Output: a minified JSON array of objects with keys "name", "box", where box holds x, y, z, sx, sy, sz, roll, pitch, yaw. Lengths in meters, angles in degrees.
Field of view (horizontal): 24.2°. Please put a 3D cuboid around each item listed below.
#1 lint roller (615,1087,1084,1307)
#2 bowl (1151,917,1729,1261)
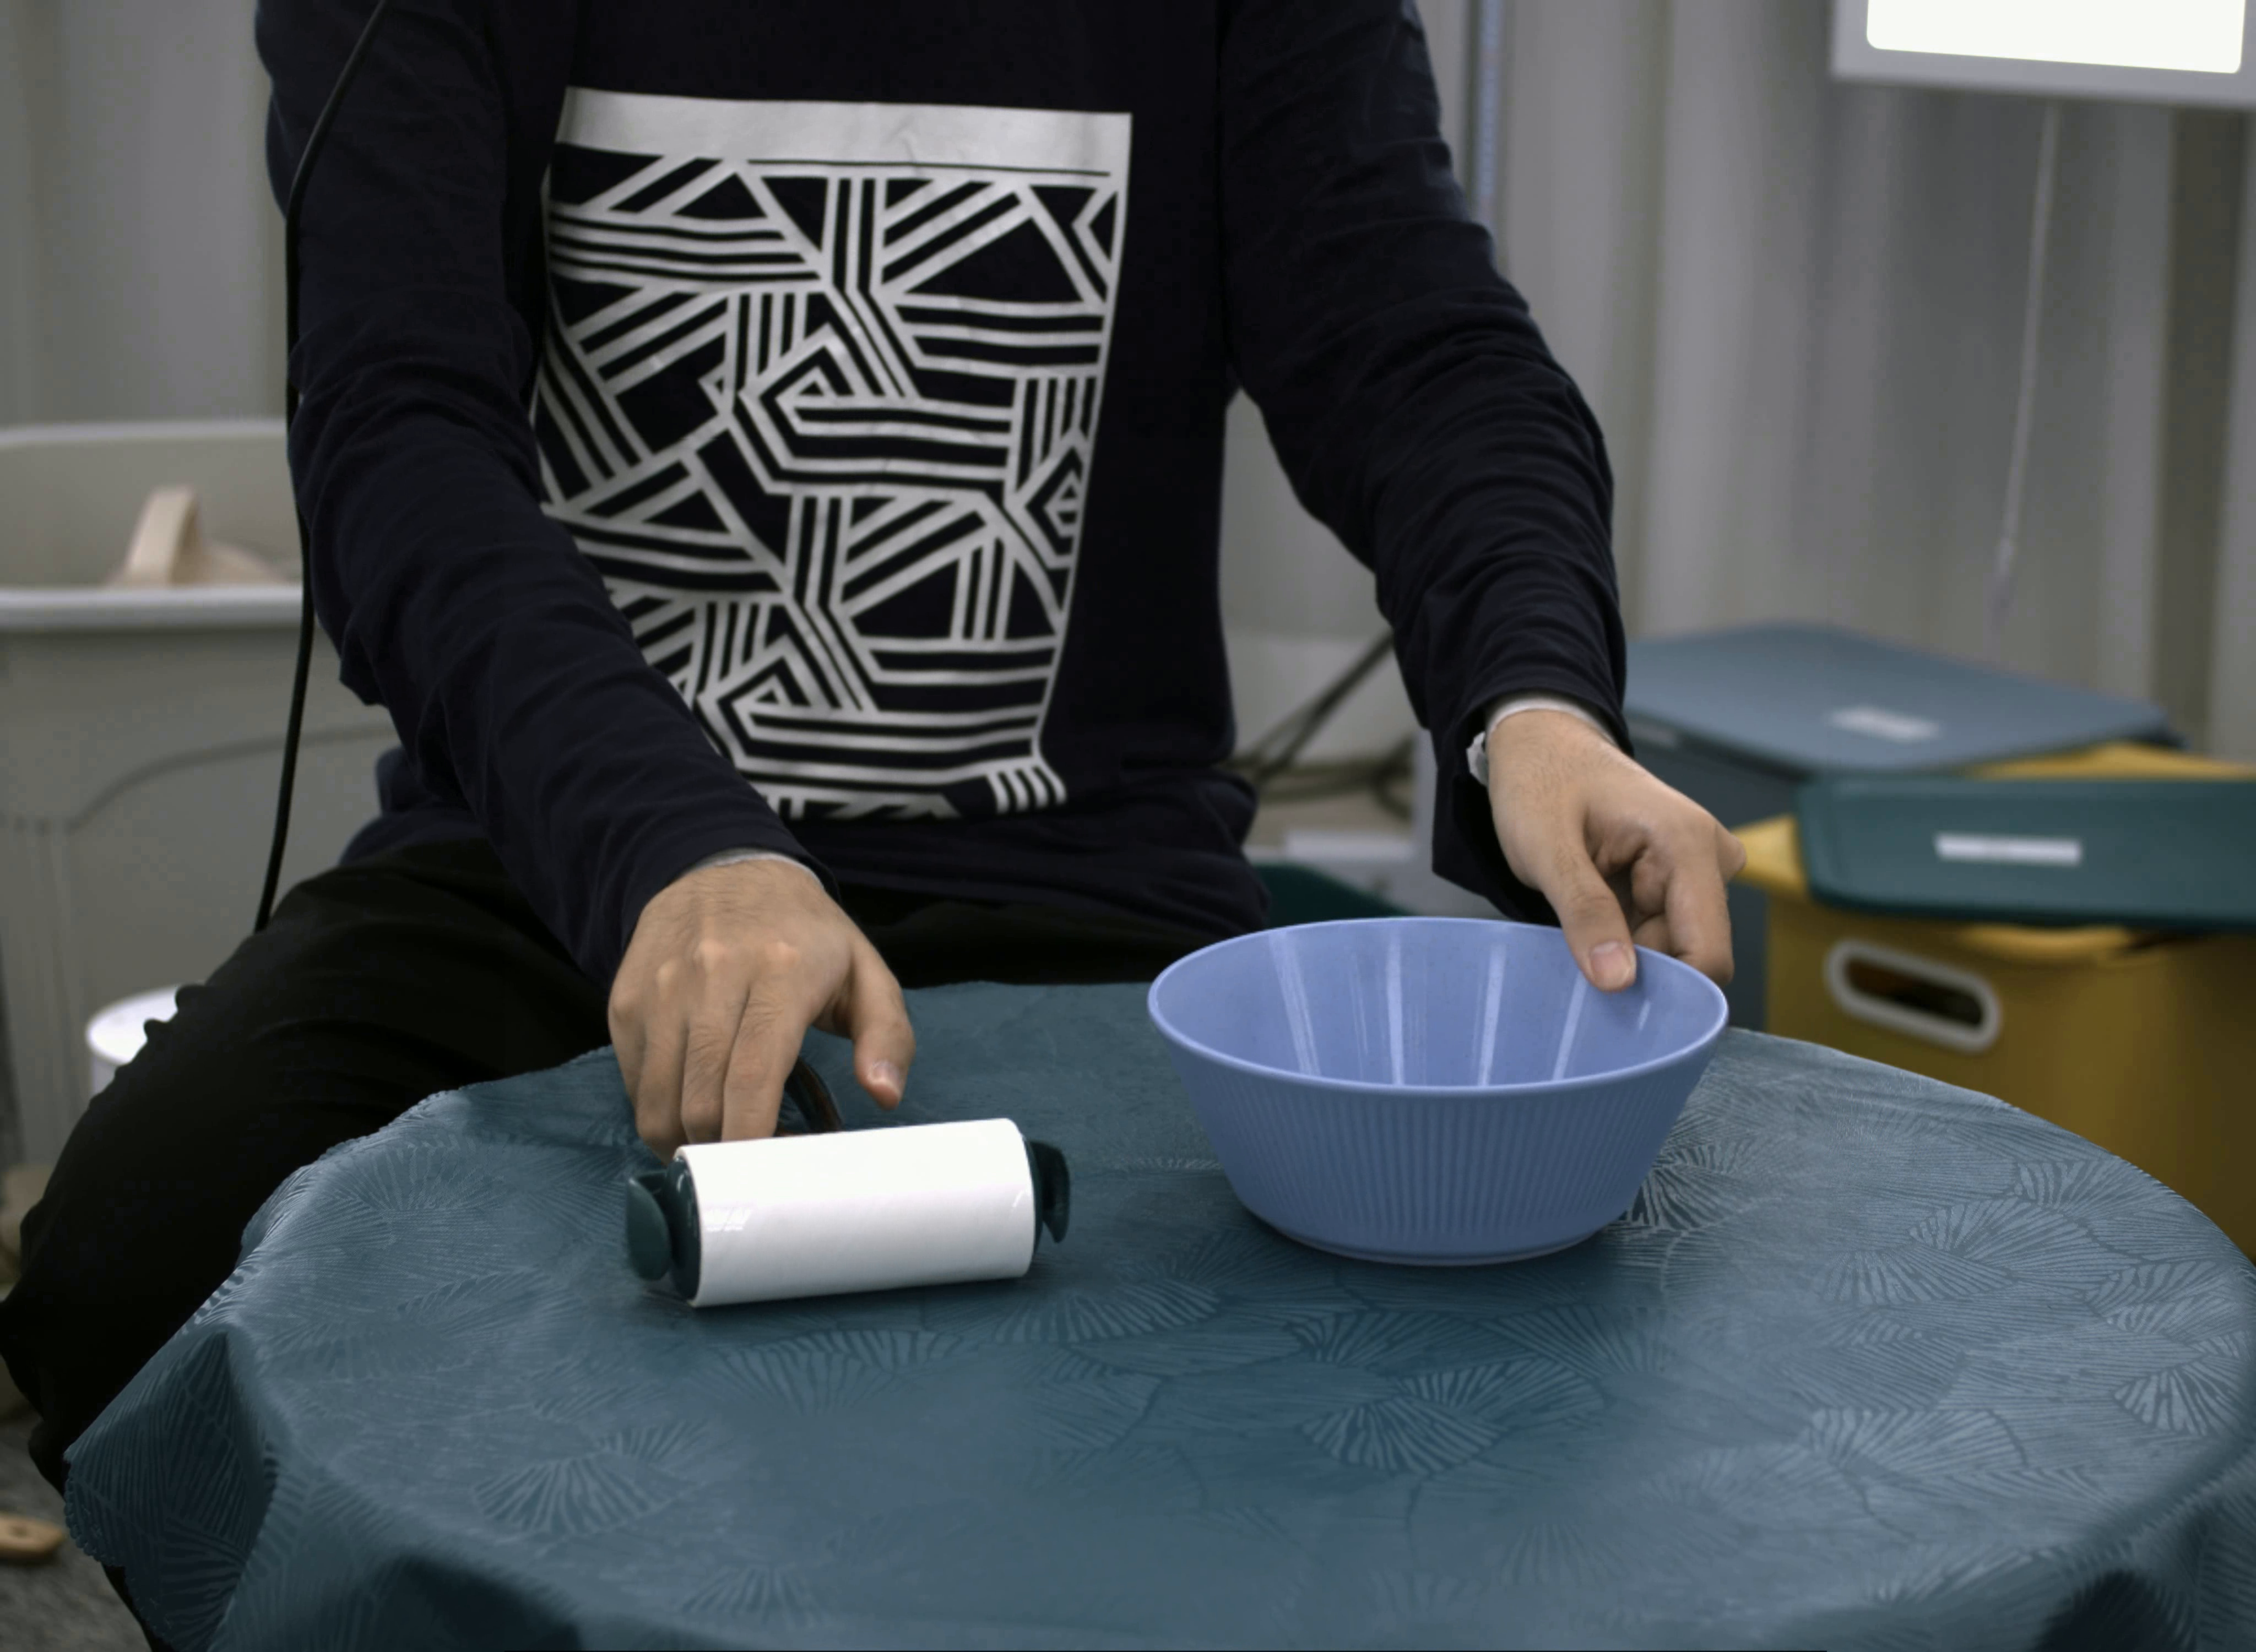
[{"name":"lint roller","box":[-0.101,0.092,1.592,0.134,0.049,0.178,-5,19,-16]},{"name":"bowl","box":[0.094,0.082,1.601,0.175,0.071,0.175,1,15,0]}]
